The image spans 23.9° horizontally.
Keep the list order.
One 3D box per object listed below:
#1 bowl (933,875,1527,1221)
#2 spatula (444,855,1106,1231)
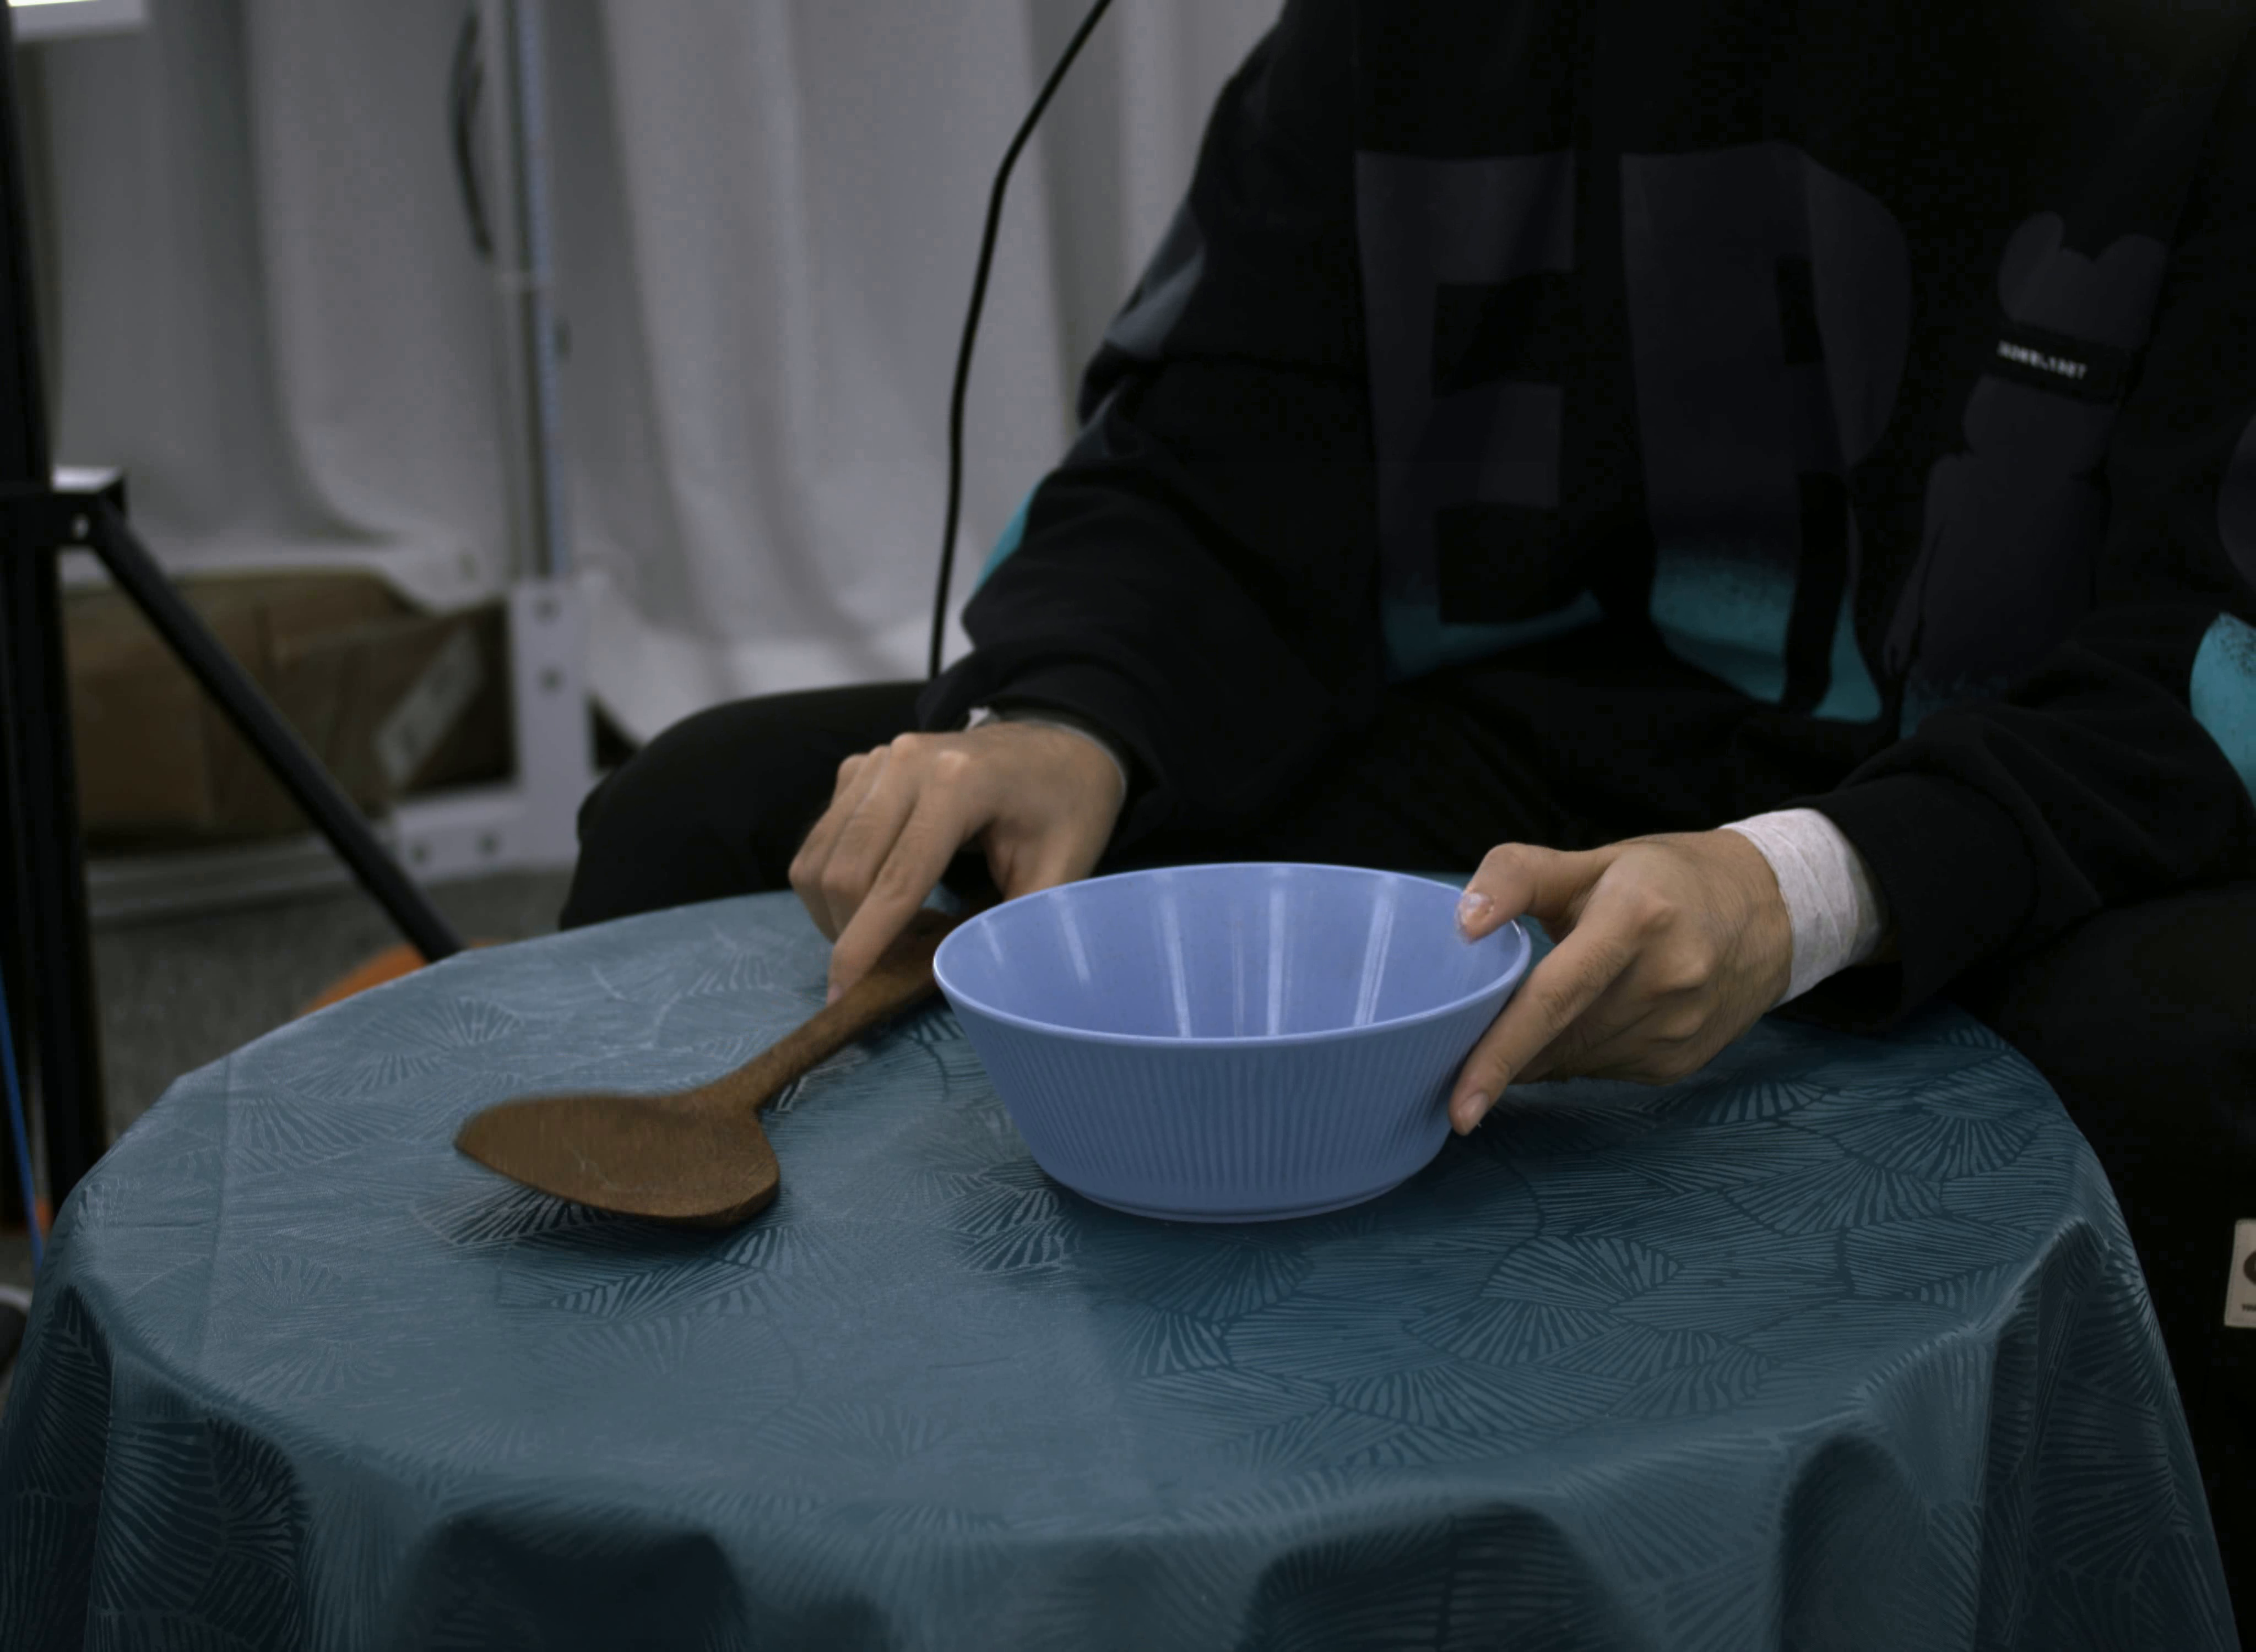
[{"bbox_3d":[0.031,0.068,1.569,0.175,0.070,0.177,-2,15,-1],"label":"bowl"},{"bbox_3d":[-0.090,0.060,1.696,0.097,0.016,0.380,18,21,19],"label":"spatula"}]
